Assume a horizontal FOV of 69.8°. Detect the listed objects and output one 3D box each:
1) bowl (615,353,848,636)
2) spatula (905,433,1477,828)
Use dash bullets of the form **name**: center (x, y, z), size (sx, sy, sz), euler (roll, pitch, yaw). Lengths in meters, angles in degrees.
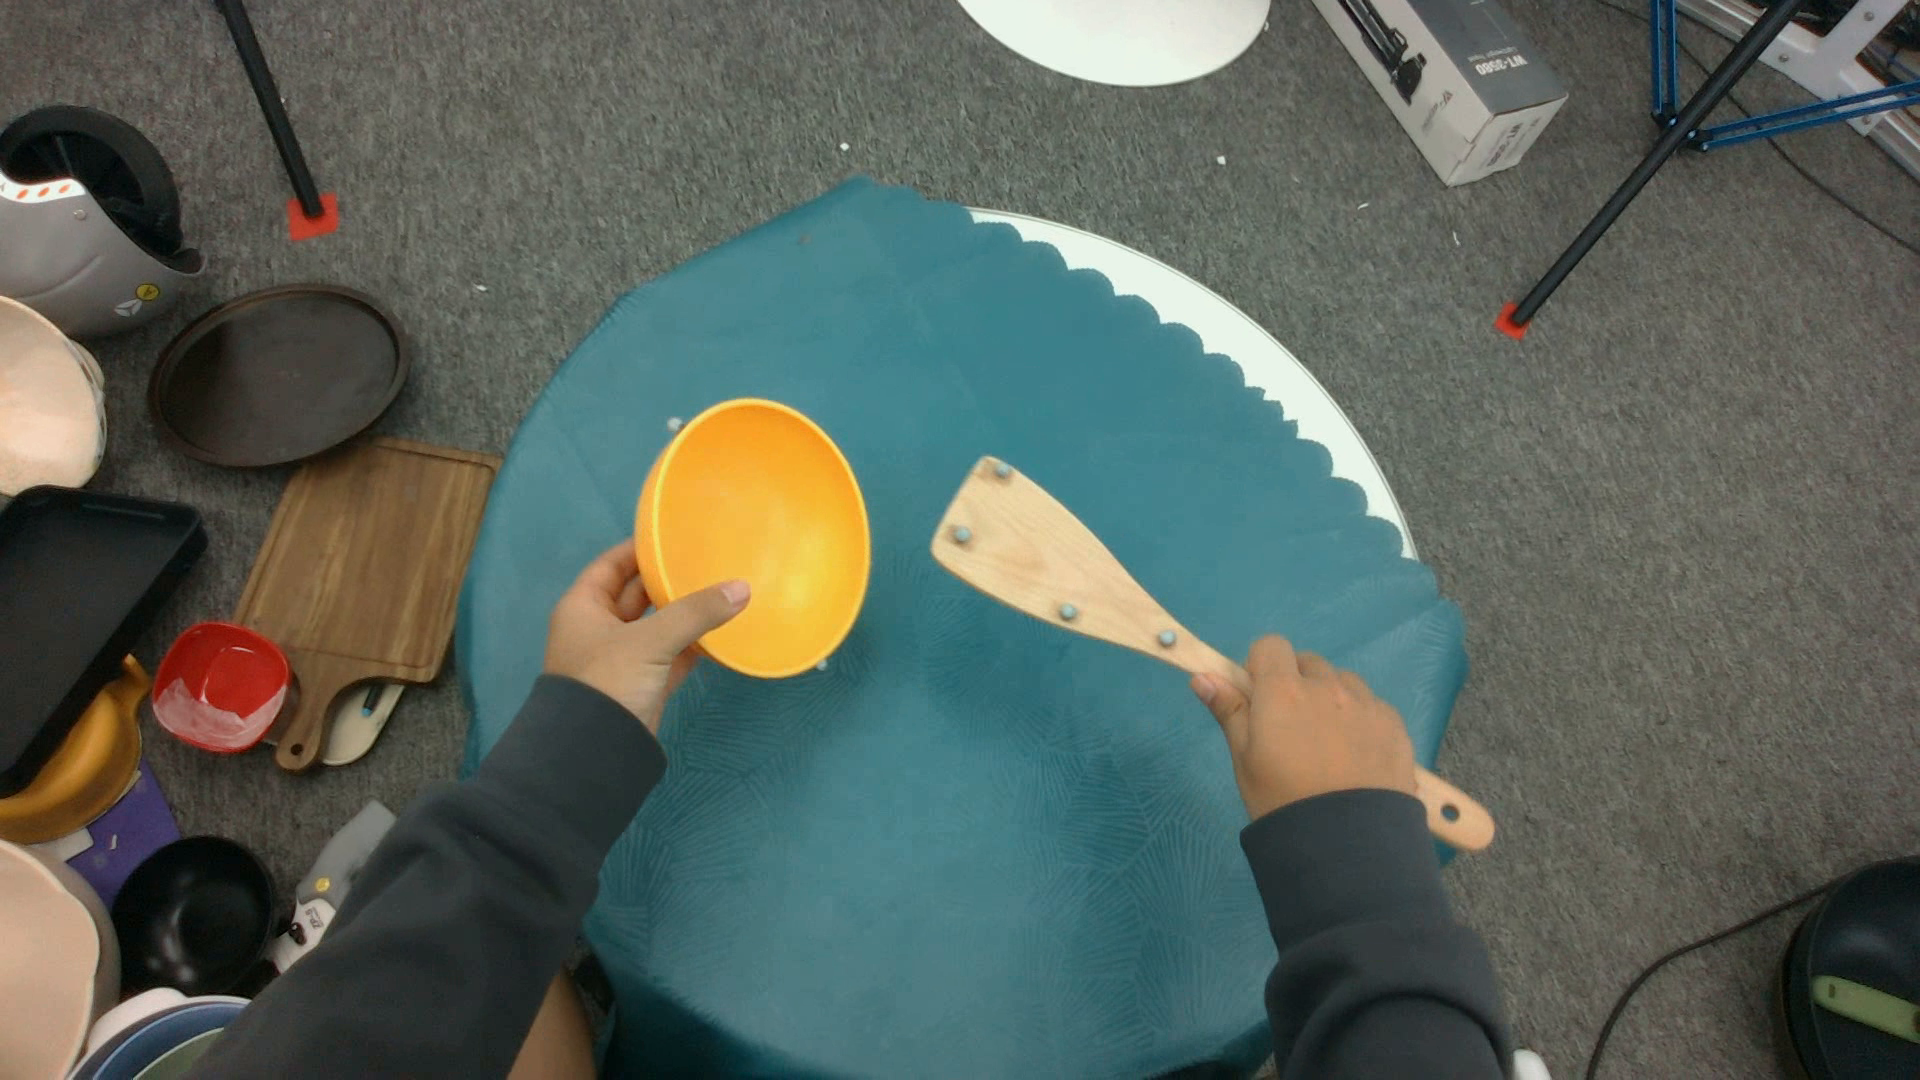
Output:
- **bowl**: center (-0.129, -0.021, 0.718), size (0.145, 0.060, 0.145), euler (11, 76, -50)
- **spatula**: center (0.116, 0.052, 0.705), size (0.327, 0.016, 0.080), euler (31, 60, 11)
